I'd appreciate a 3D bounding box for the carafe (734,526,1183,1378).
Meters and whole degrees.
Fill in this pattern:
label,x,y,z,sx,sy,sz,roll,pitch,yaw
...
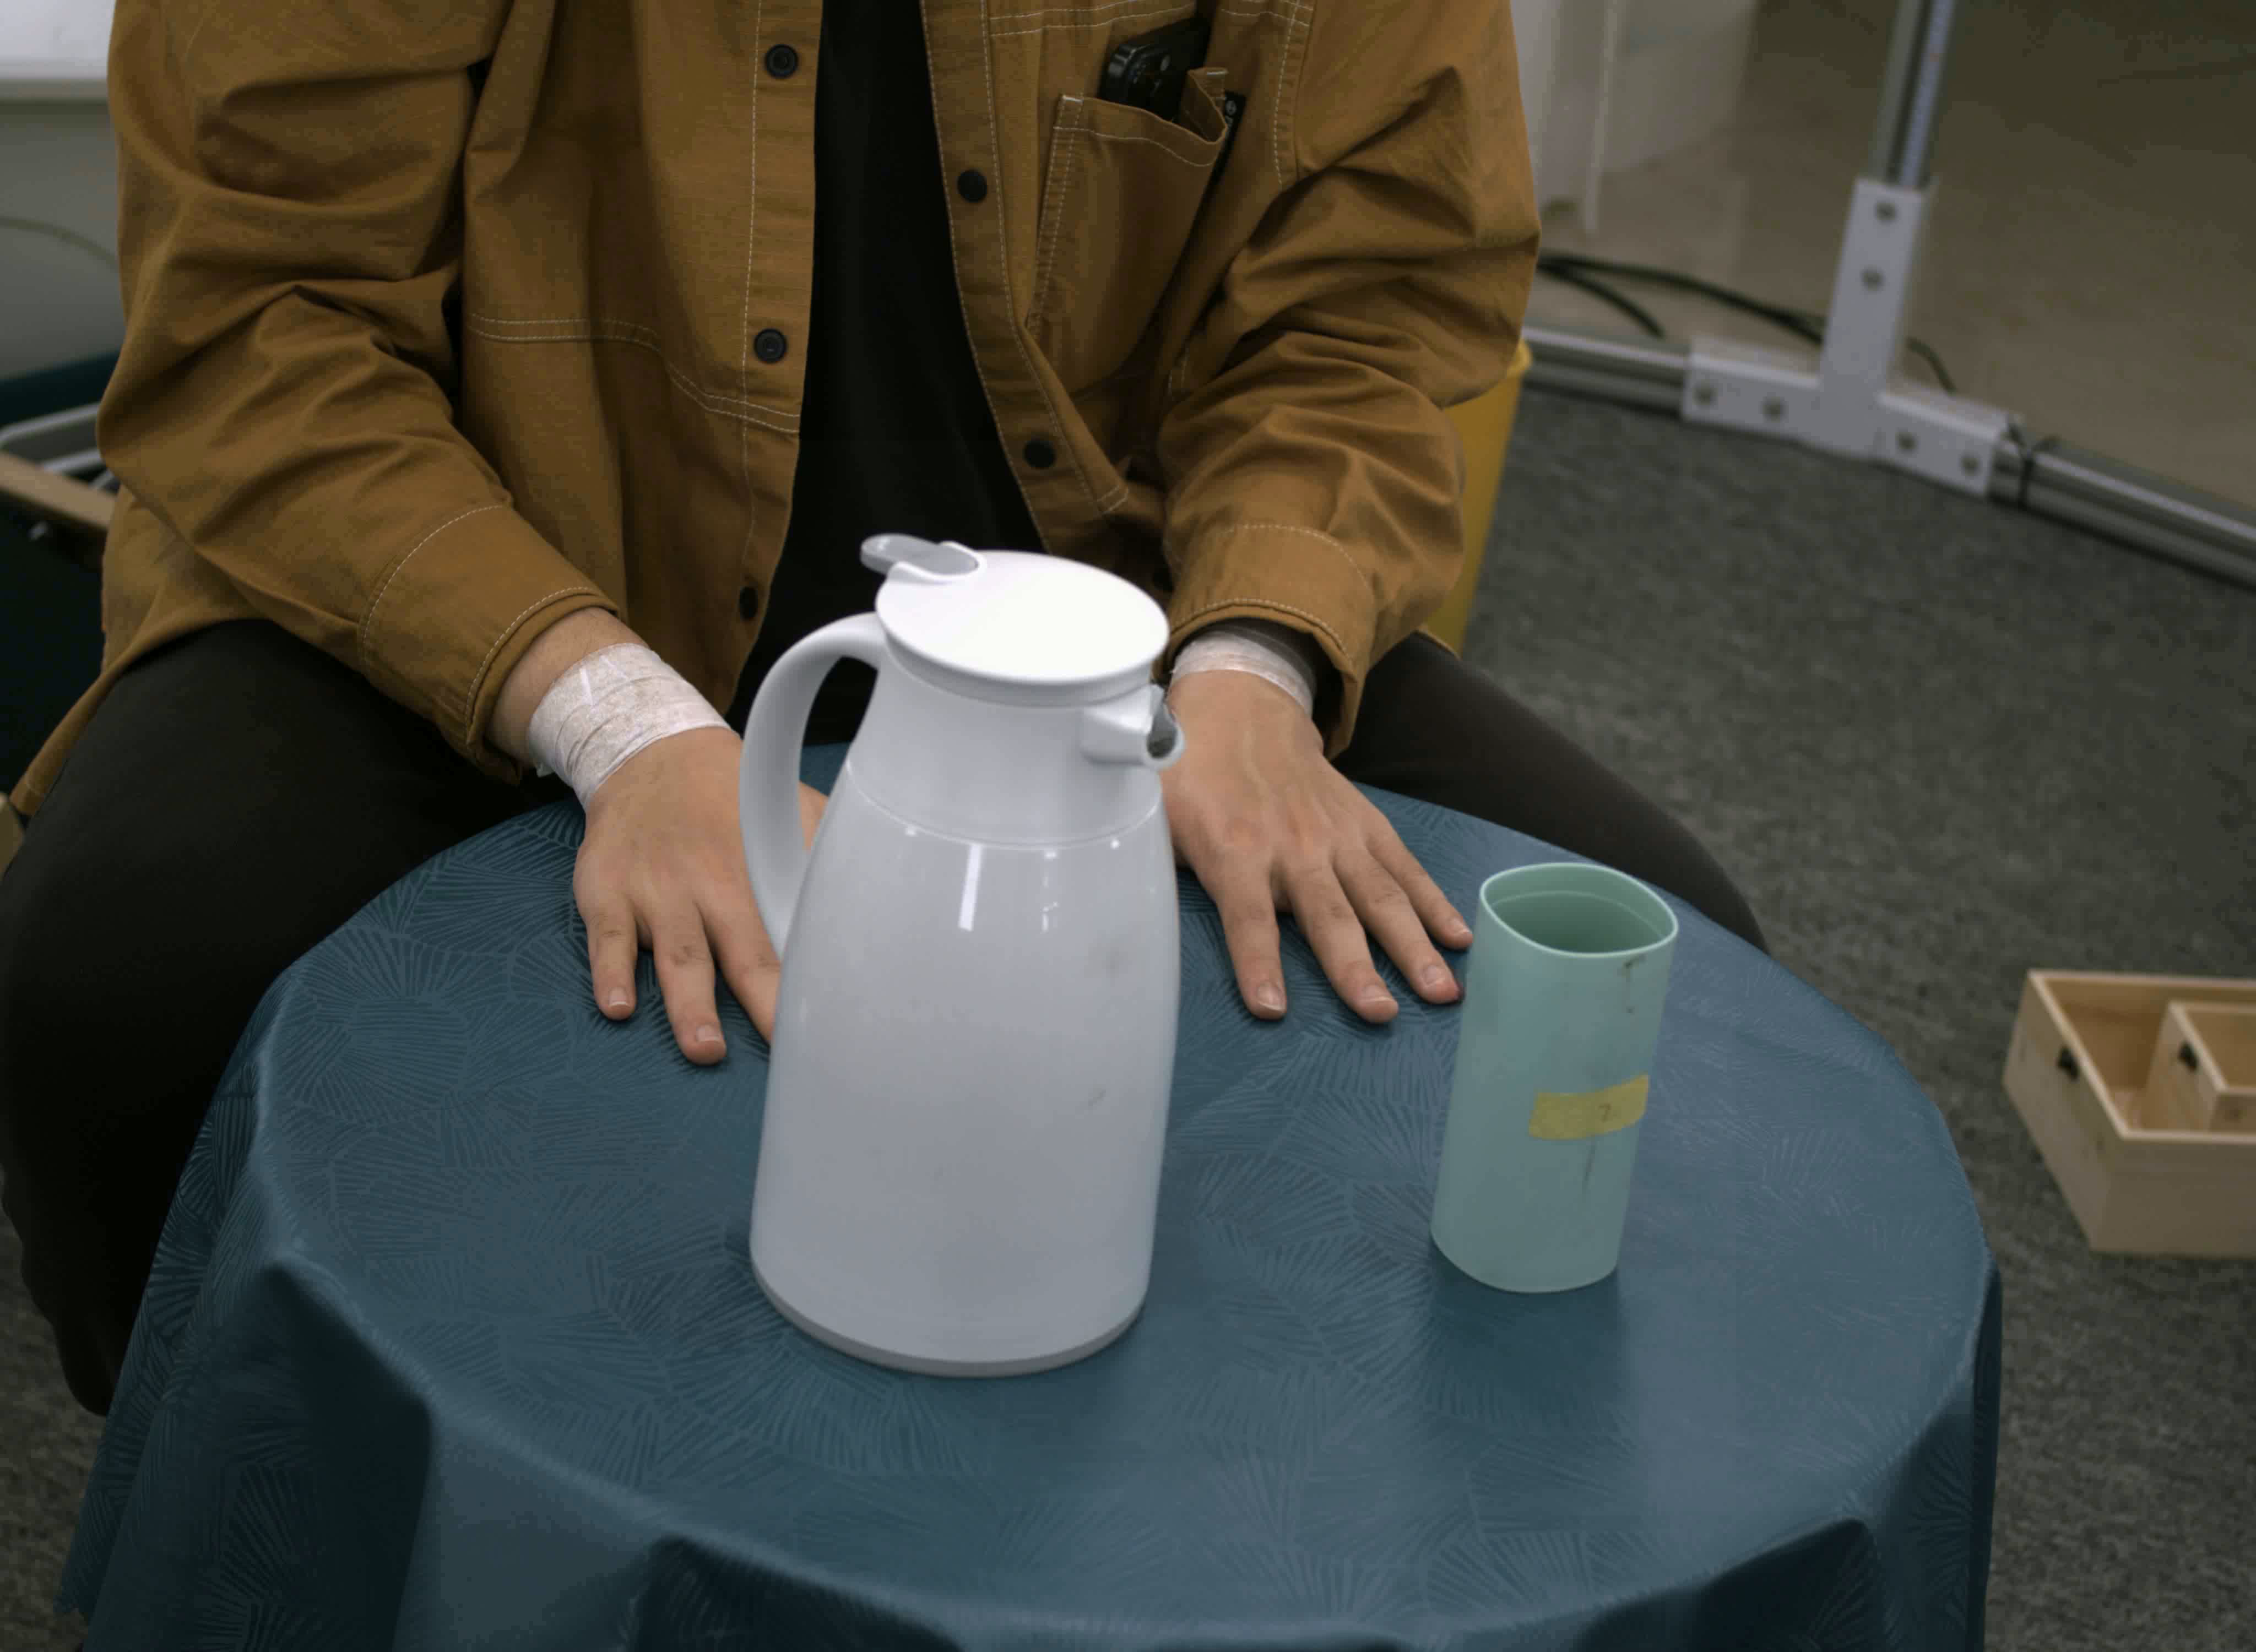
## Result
label,x,y,z,sx,sy,sz,roll,pitch,yaw
carafe,-0.062,0.030,1.704,0.169,0.248,0.132,25,32,33

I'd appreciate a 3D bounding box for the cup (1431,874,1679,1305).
label,x,y,z,sx,sy,sz,roll,pitch,yaw
cup,0.140,0.087,1.772,0.066,0.132,0.067,6,27,-3
